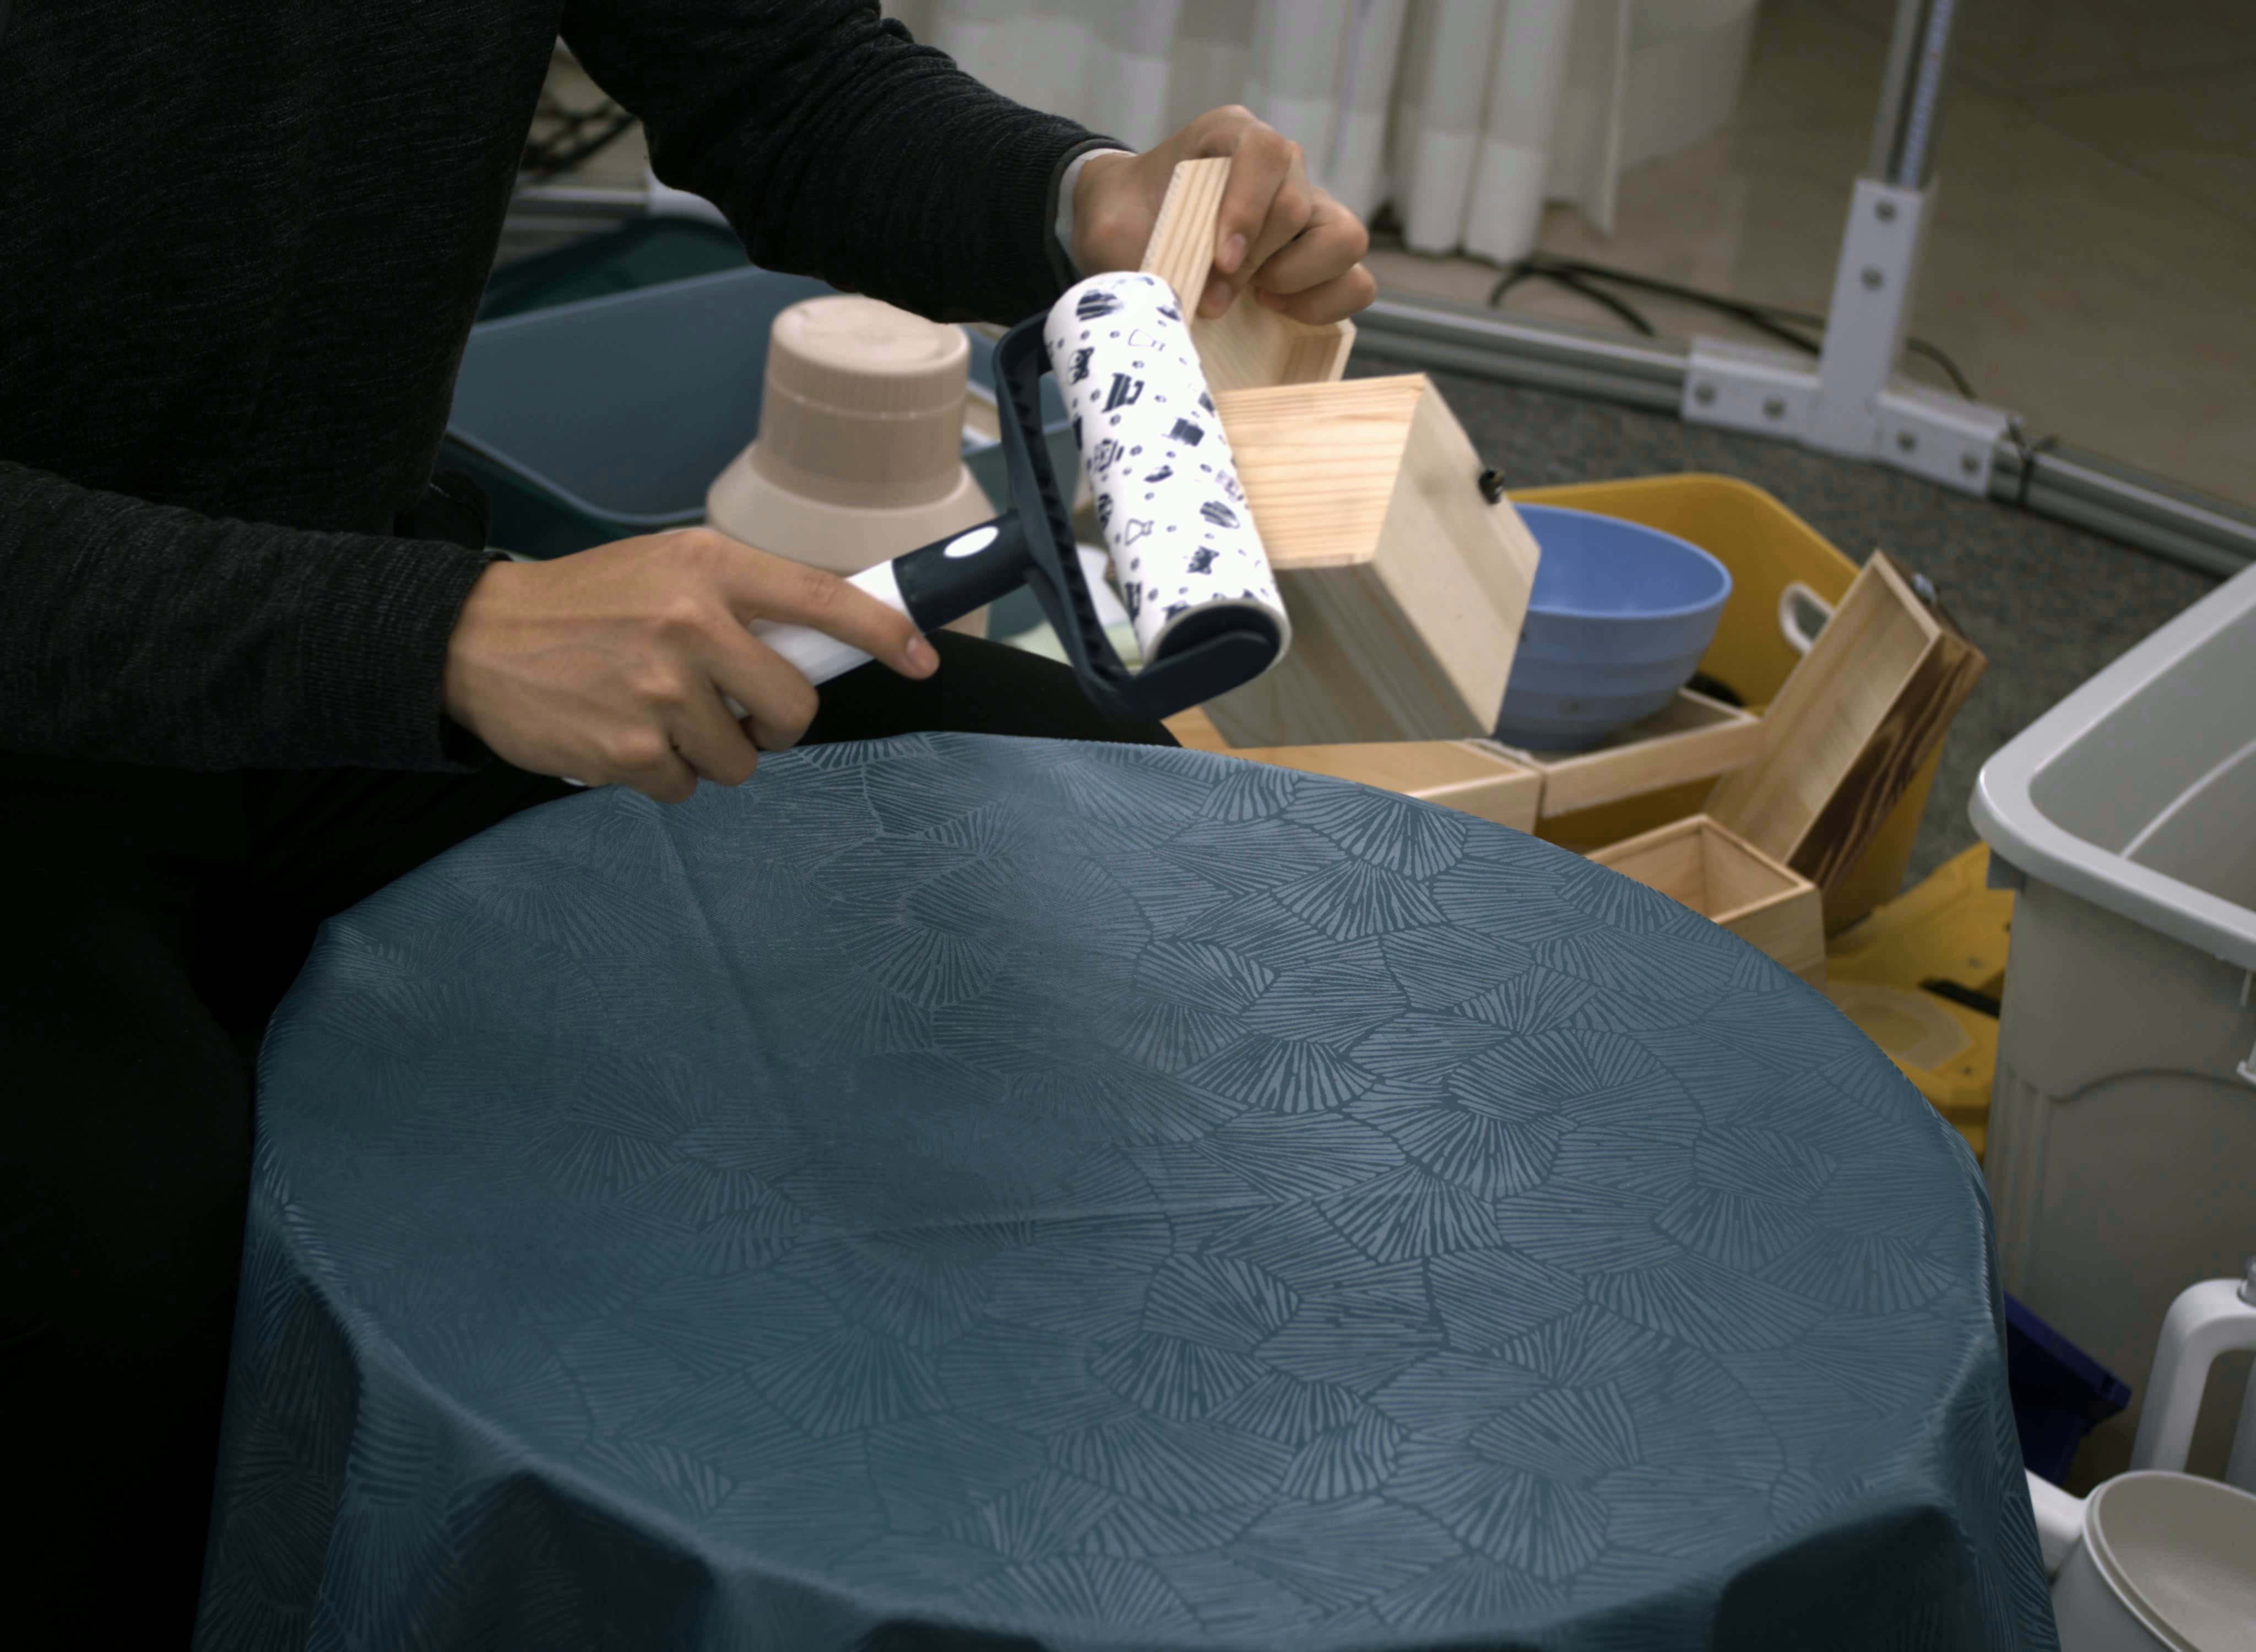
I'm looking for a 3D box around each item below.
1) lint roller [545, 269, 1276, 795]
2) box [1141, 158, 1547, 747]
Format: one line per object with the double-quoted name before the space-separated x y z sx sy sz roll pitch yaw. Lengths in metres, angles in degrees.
"lint roller" -0.082 -0.073 1.742 0.247 0.050 0.178 -23 48 7
"box" 0.073 -0.132 1.810 0.134 0.101 0.185 -3 54 30
